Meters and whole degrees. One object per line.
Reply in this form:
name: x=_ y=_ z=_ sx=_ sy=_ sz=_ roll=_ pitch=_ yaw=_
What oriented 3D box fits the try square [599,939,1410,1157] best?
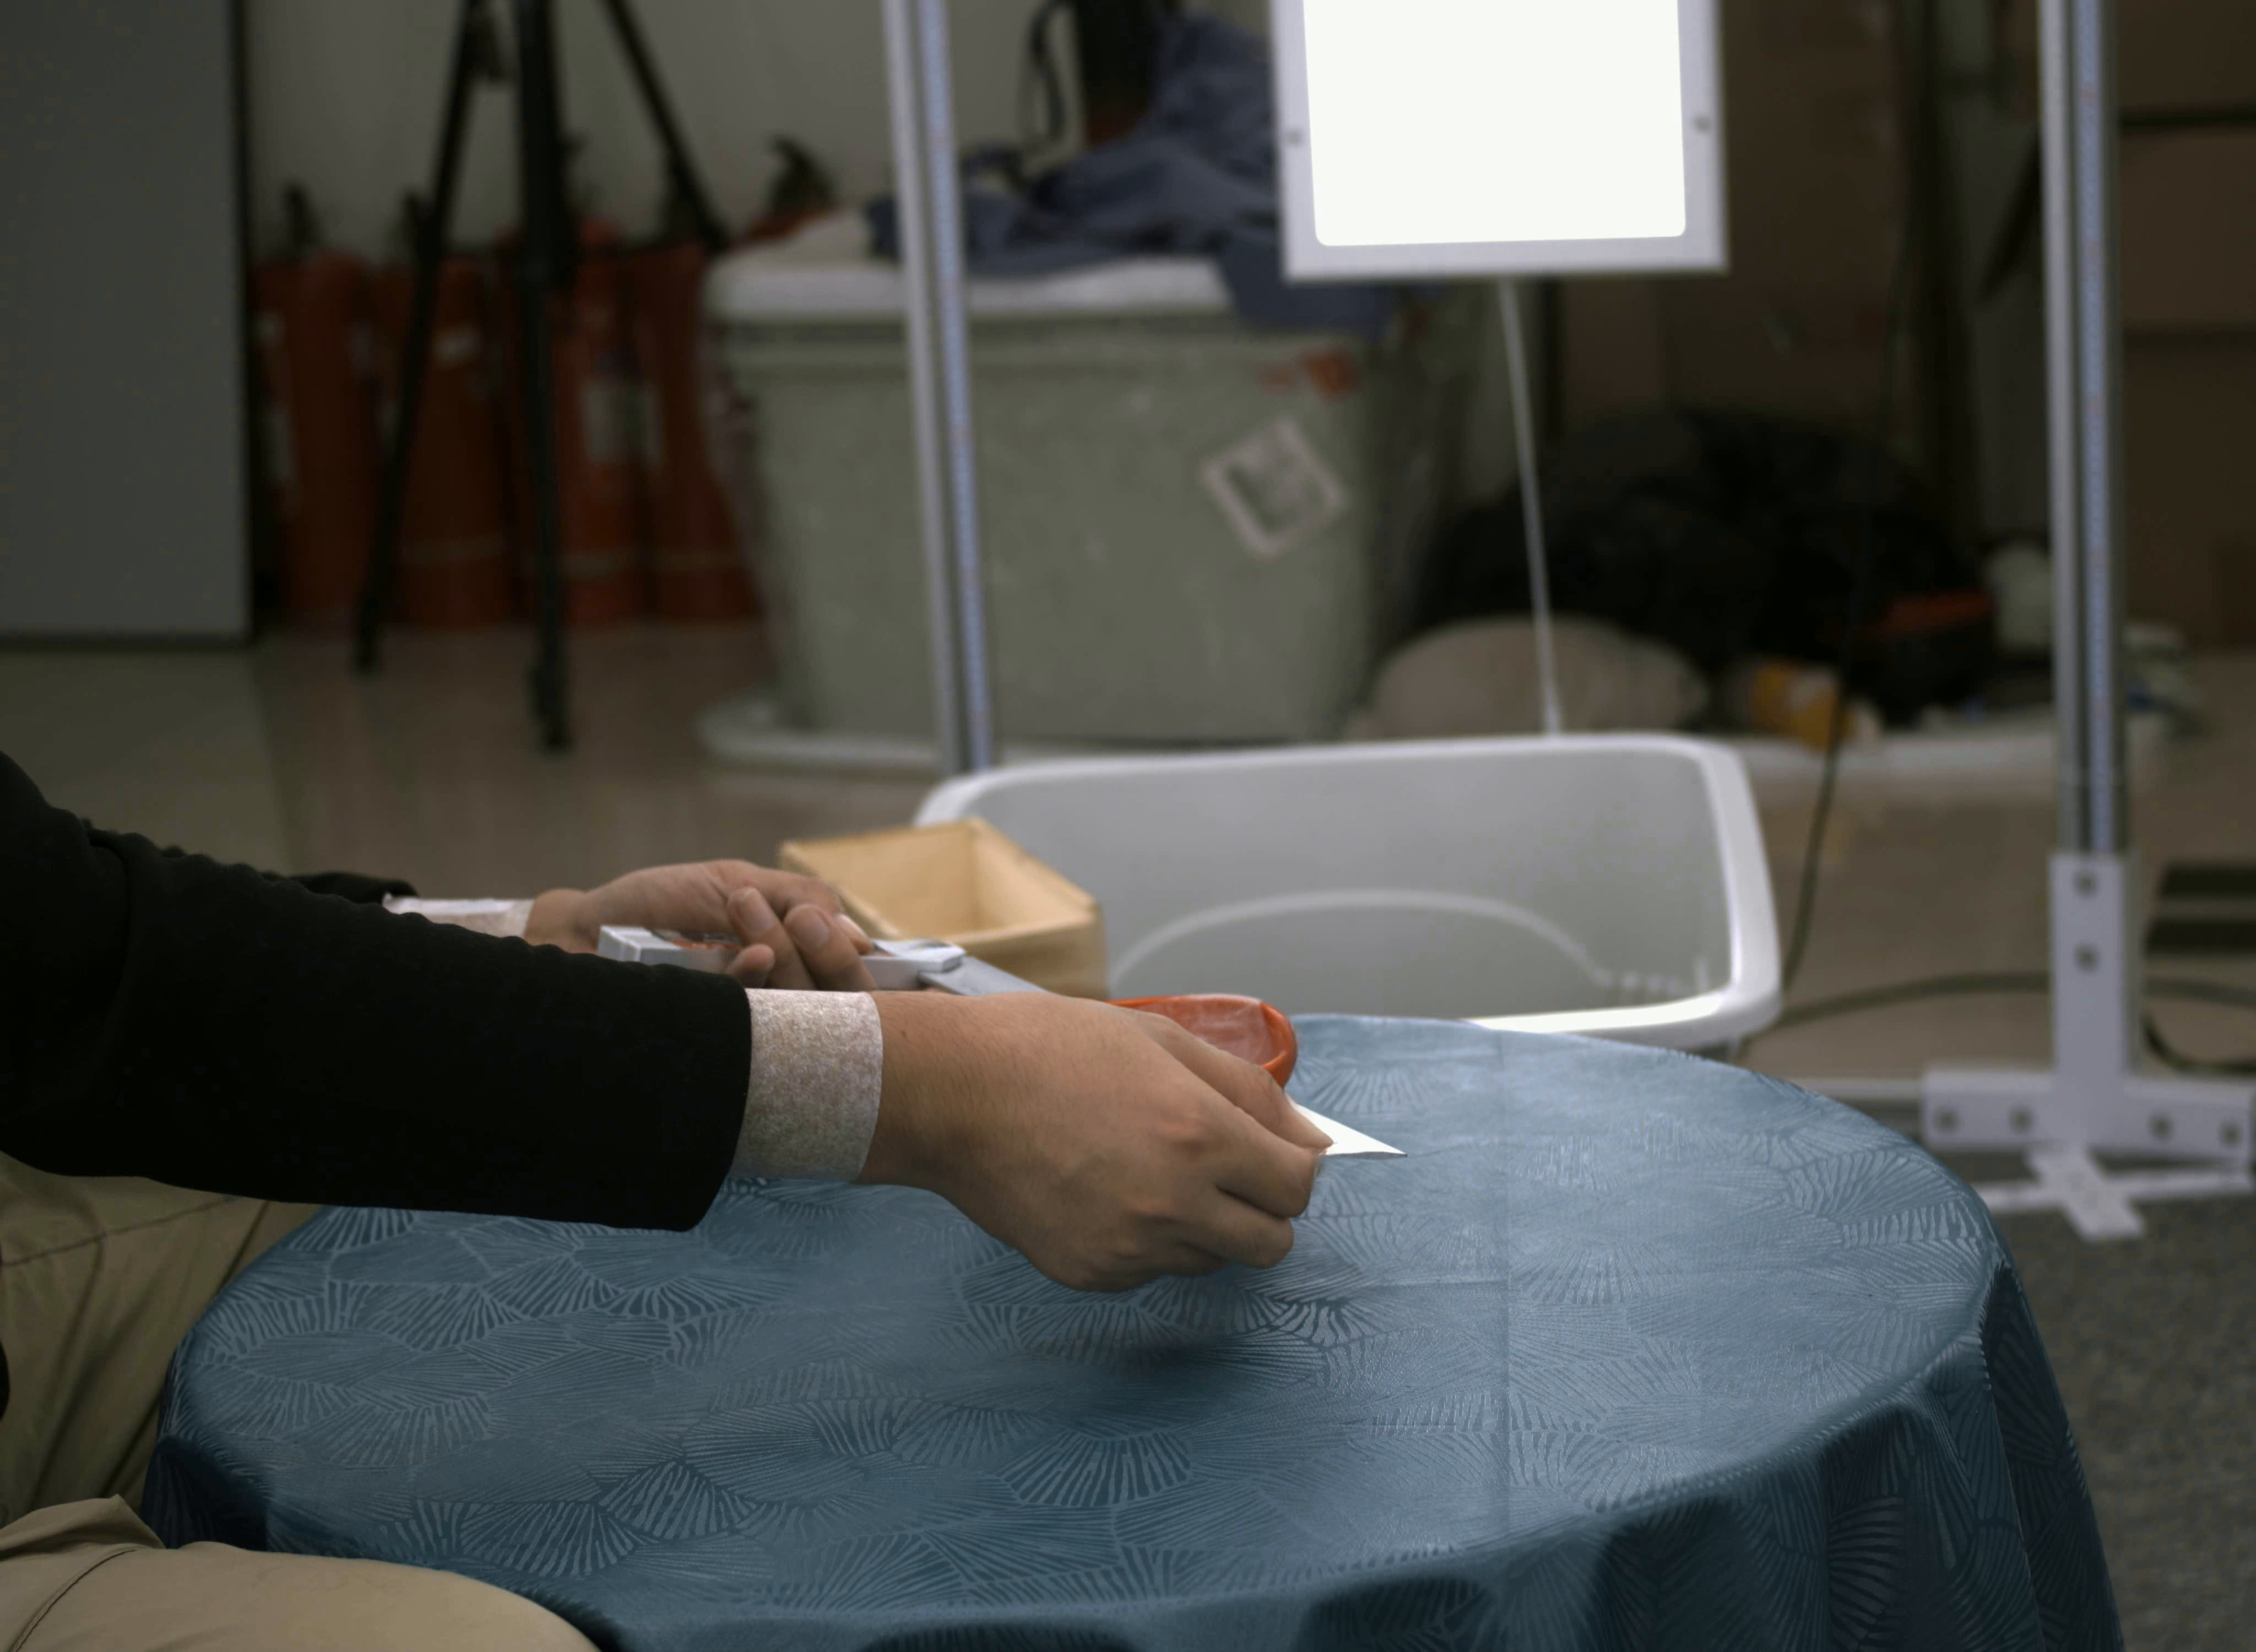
try square: x=-0.049 y=0.074 z=1.853 sx=0.149 sy=0.016 sz=0.318 roll=1 pitch=10 yaw=-28

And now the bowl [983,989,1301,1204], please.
bowl: x=0.005 y=0.096 z=1.905 sx=0.118 sy=0.051 sz=0.119 roll=-2 pitch=15 yaw=-1
